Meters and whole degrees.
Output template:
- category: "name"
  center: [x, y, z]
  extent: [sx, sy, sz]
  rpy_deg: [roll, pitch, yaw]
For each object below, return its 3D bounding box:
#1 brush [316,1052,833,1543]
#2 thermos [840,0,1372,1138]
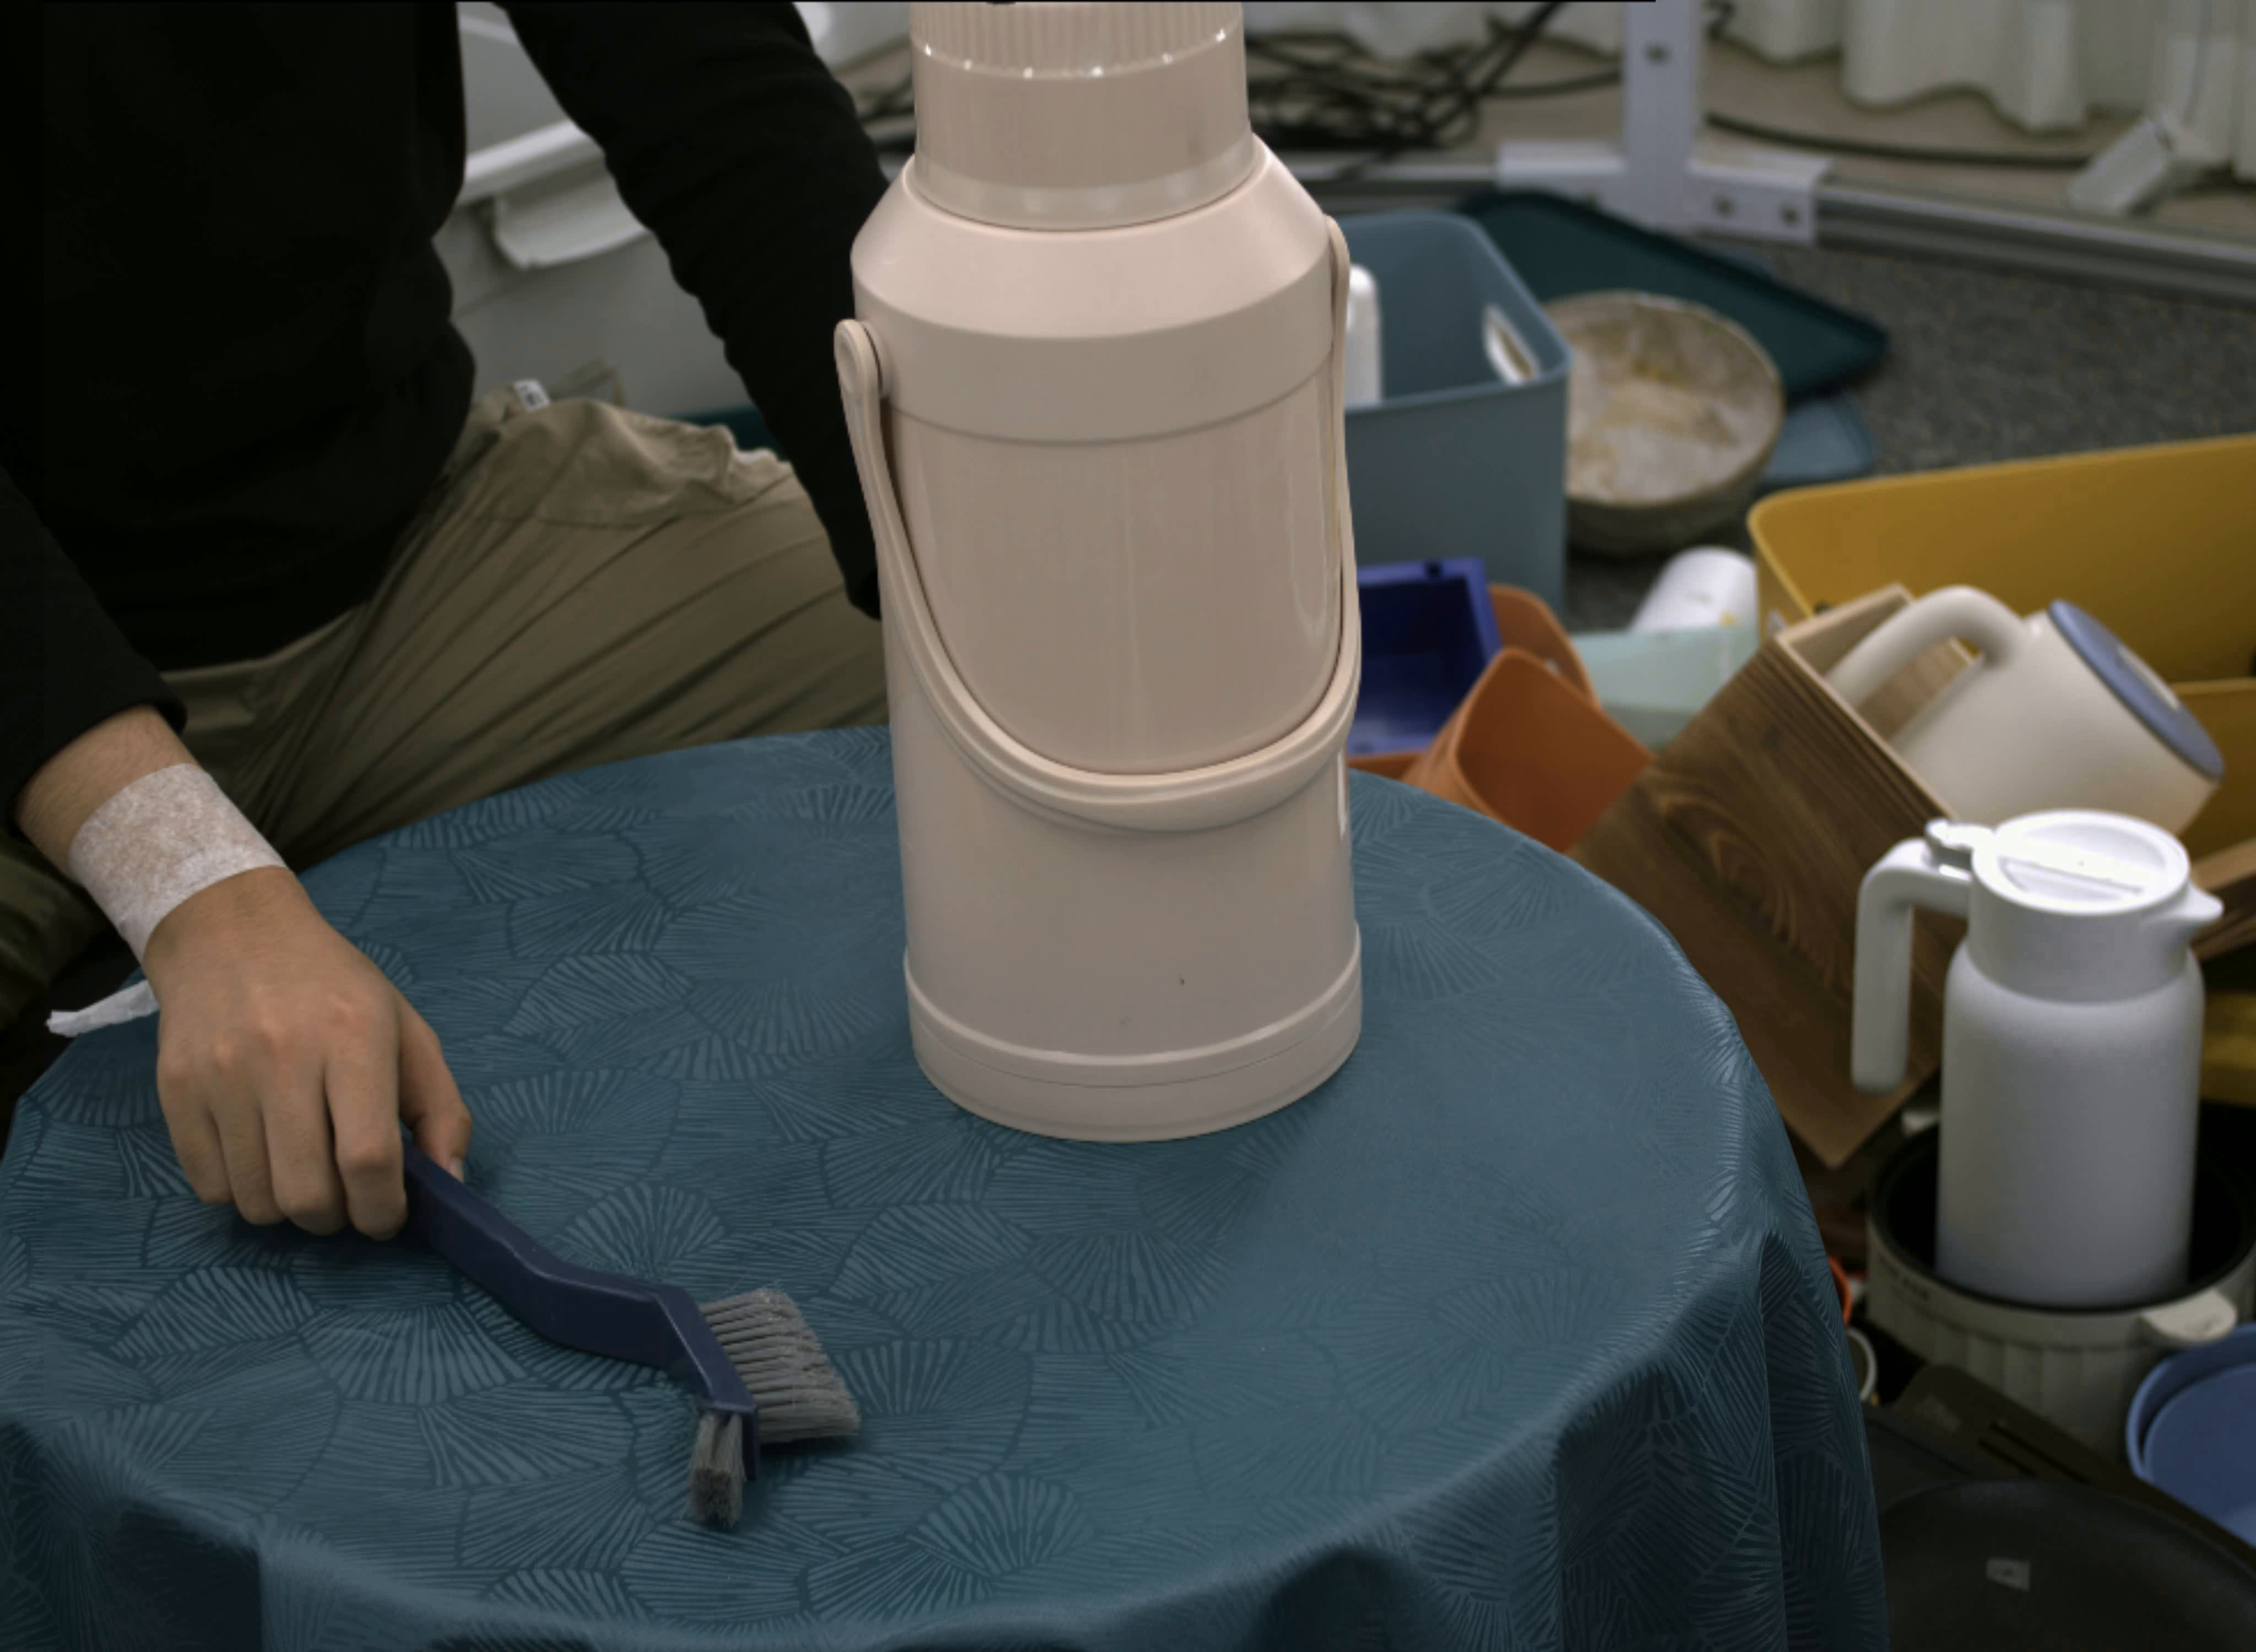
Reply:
- category: "brush"
  center: [-0.197, 0.146, 1.797]
  extent: [0.273, 0.033, 0.097]
  rpy_deg: [25, 37, 38]
- category: "thermos"
  center: [-0.010, -0.112, 1.887]
  extent: [0.176, 0.402, 0.208]
  rpy_deg: [-16, 29, -21]
